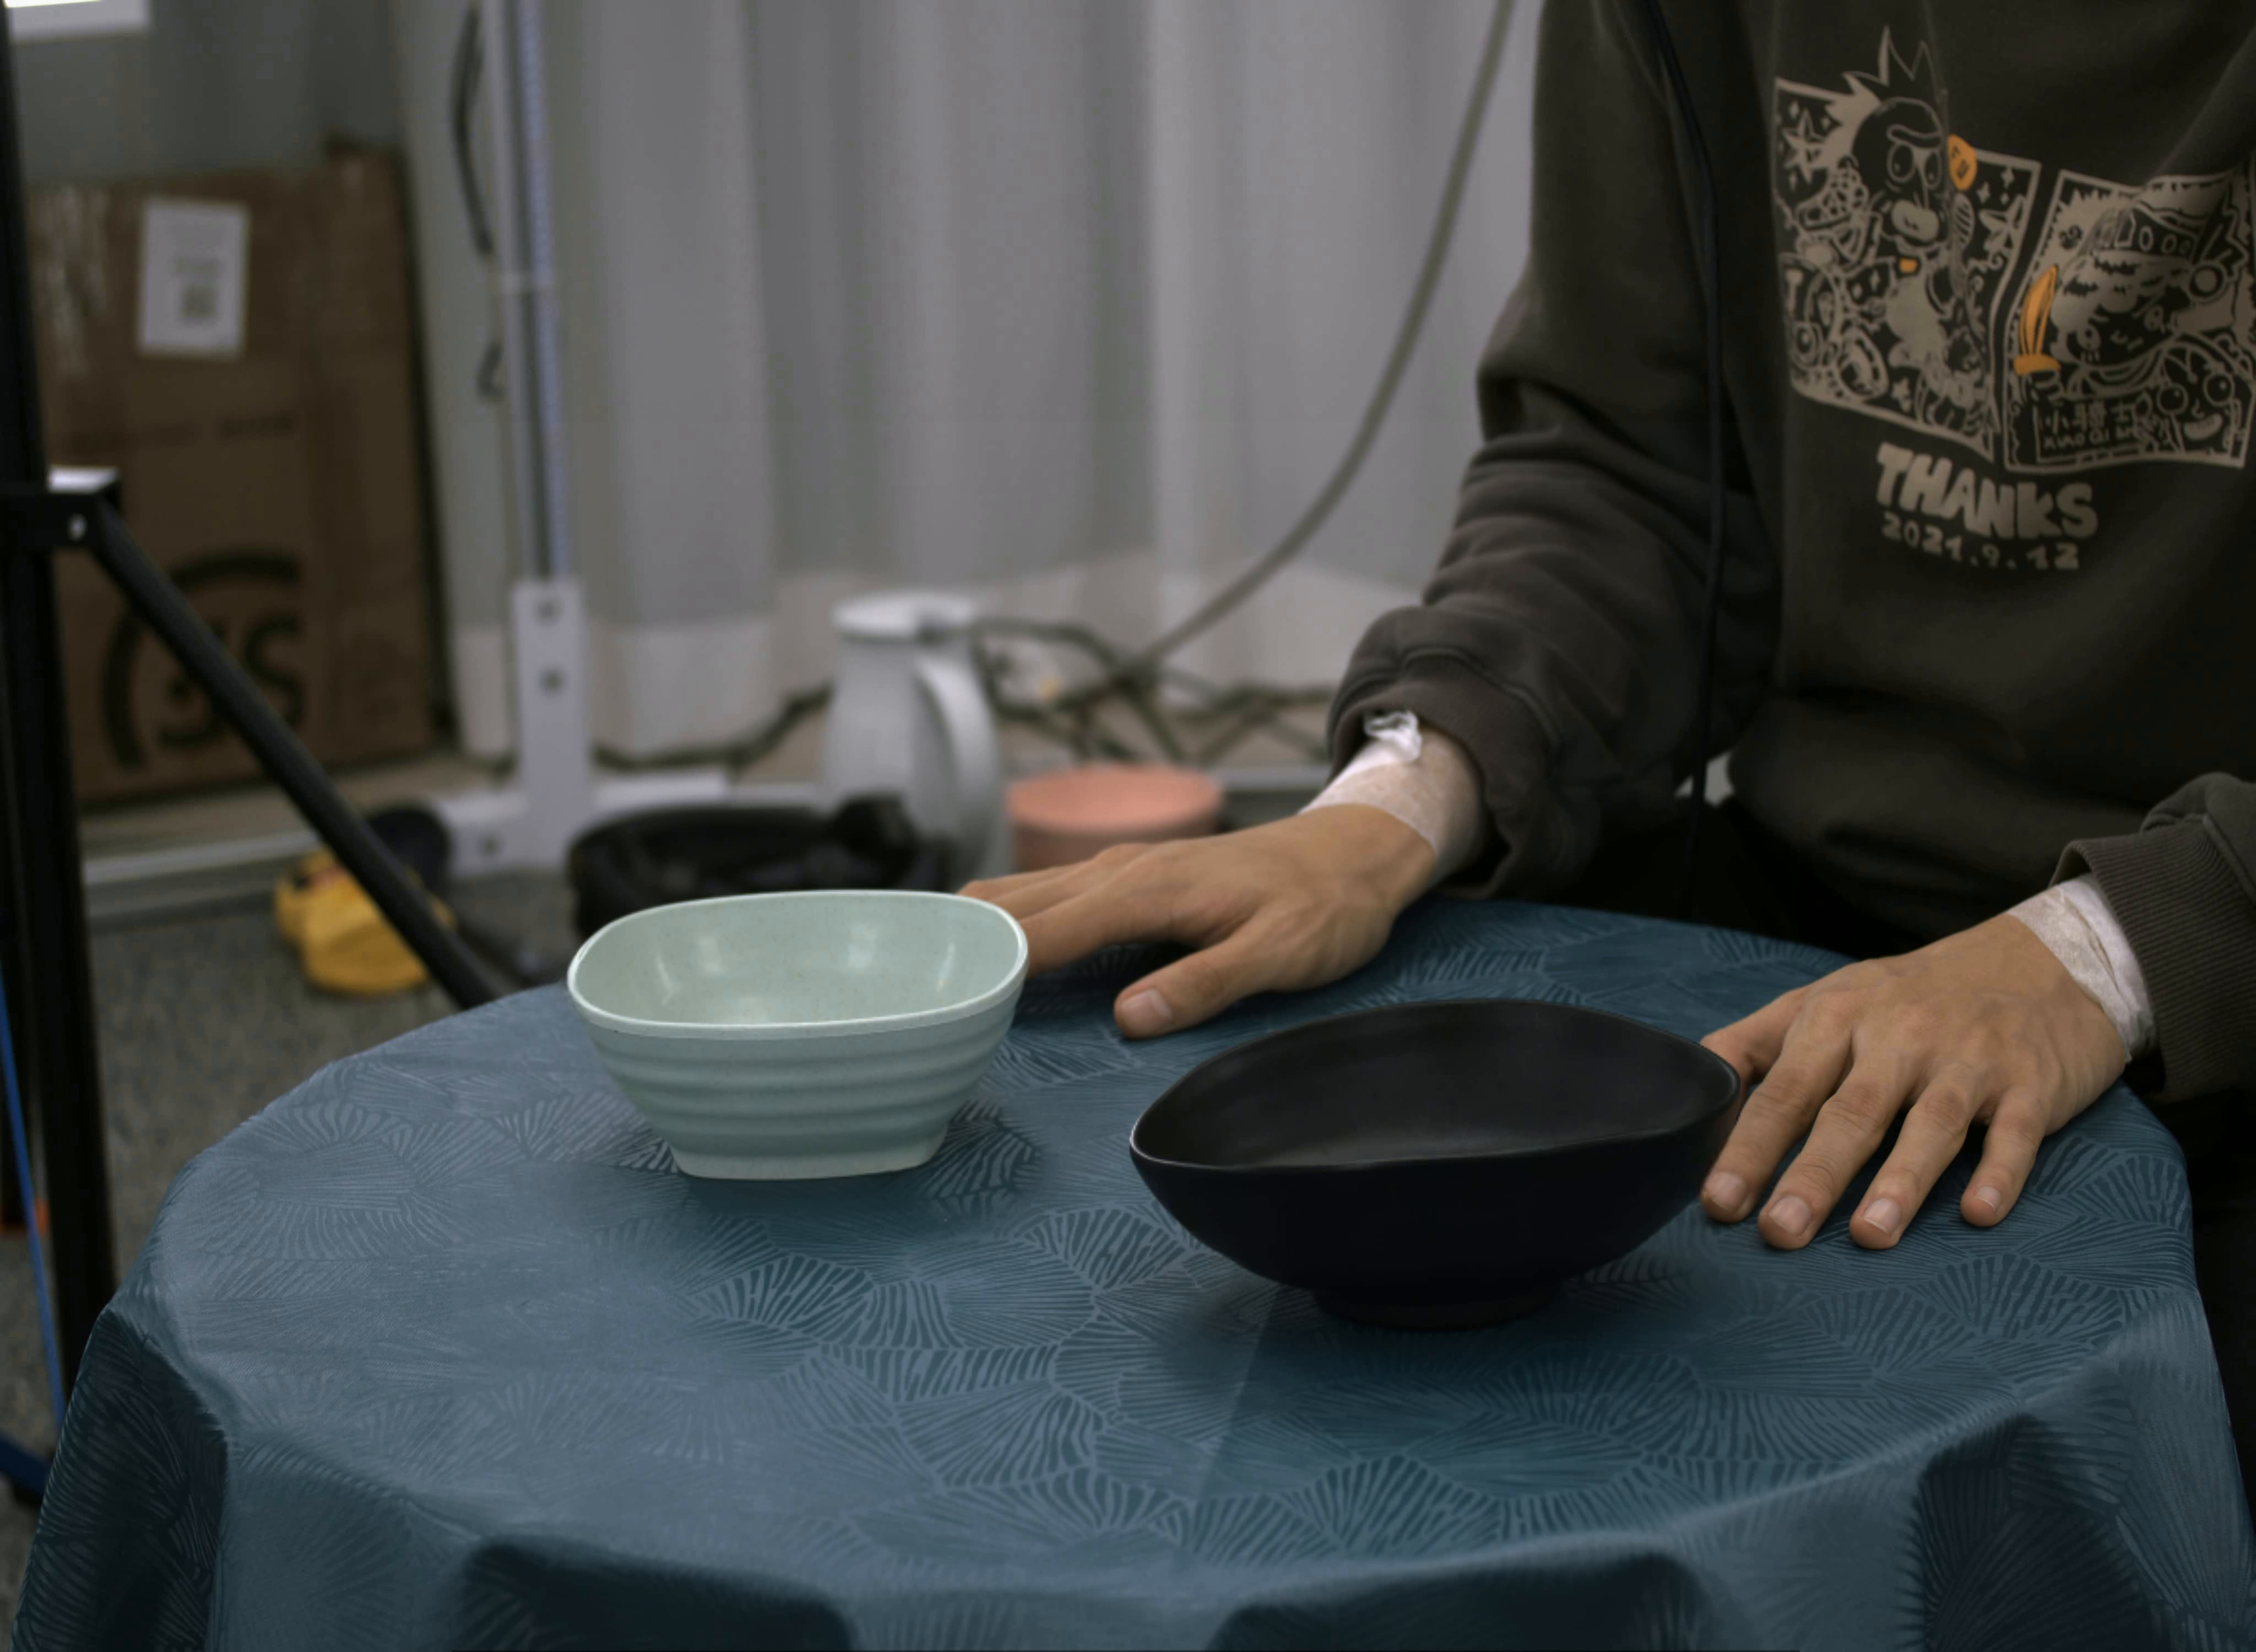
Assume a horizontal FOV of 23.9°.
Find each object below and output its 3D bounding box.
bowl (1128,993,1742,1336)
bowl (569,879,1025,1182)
[{"bbox_3d":[0.086,0.100,1.462,0.169,0.066,0.138,-5,16,-4],"label":"bowl"},{"bbox_3d":[-0.099,0.066,1.623,0.151,0.058,0.152,-3,18,0],"label":"bowl"}]
